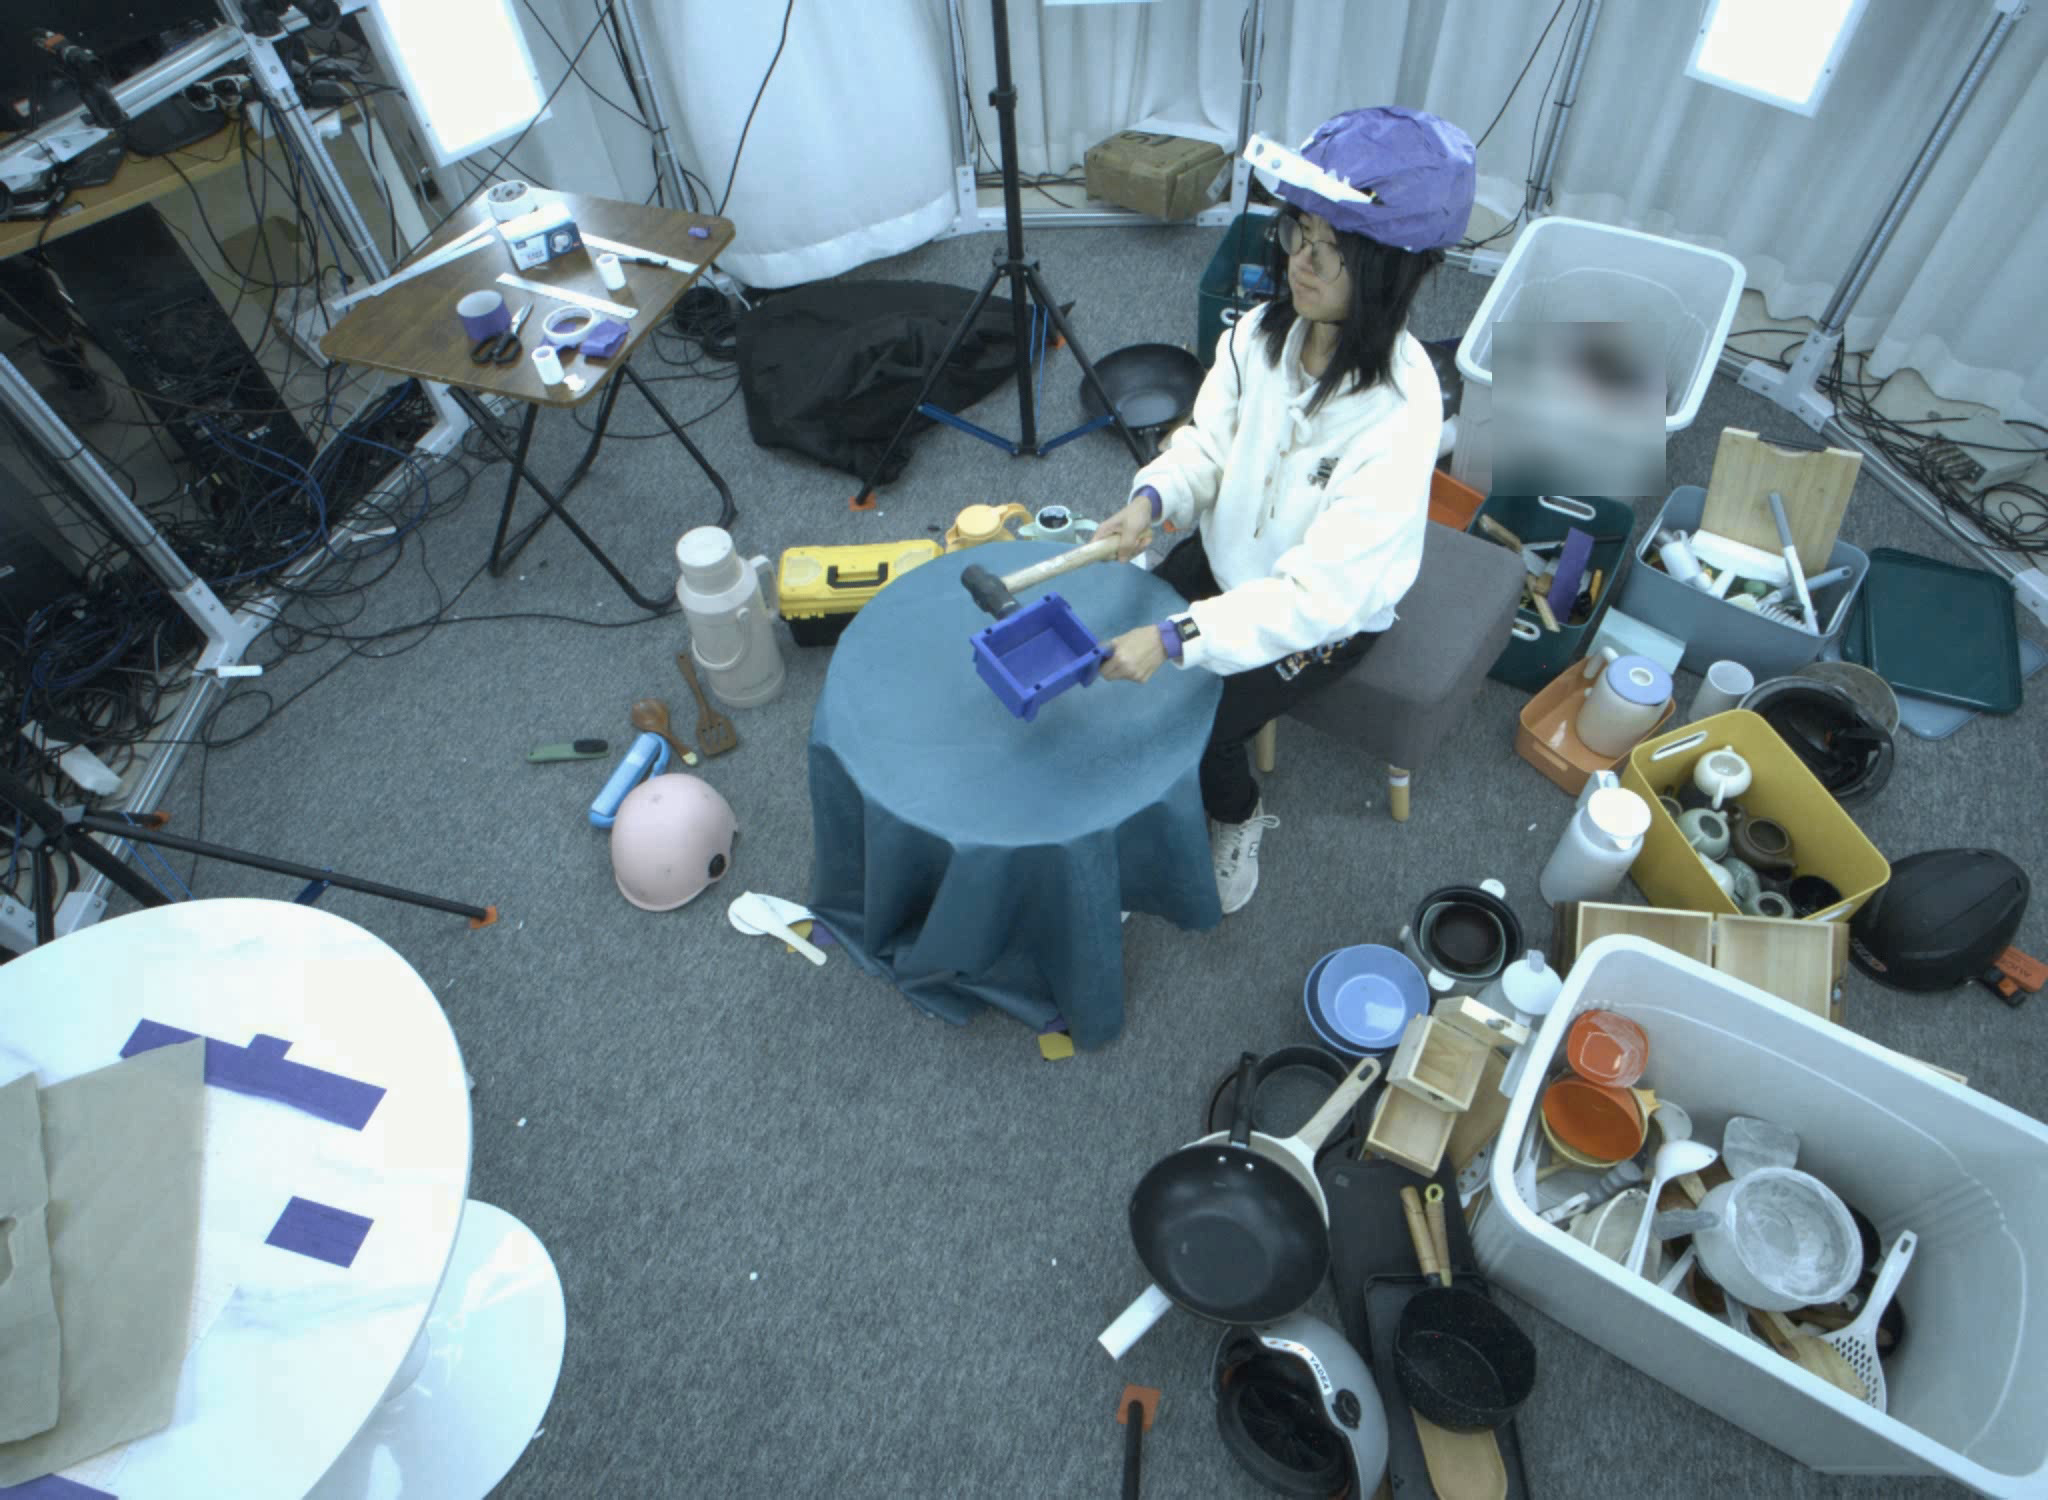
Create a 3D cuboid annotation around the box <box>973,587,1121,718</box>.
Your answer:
[{"bbox_3d":[0.031,-0.140,1.713,0.181,0.082,0.123,-33,72,-22],"label":"box"}]

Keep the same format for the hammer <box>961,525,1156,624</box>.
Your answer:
[{"bbox_3d":[0.062,-0.274,1.810,0.309,0.038,0.105,-24,55,-24],"label":"hammer"}]
